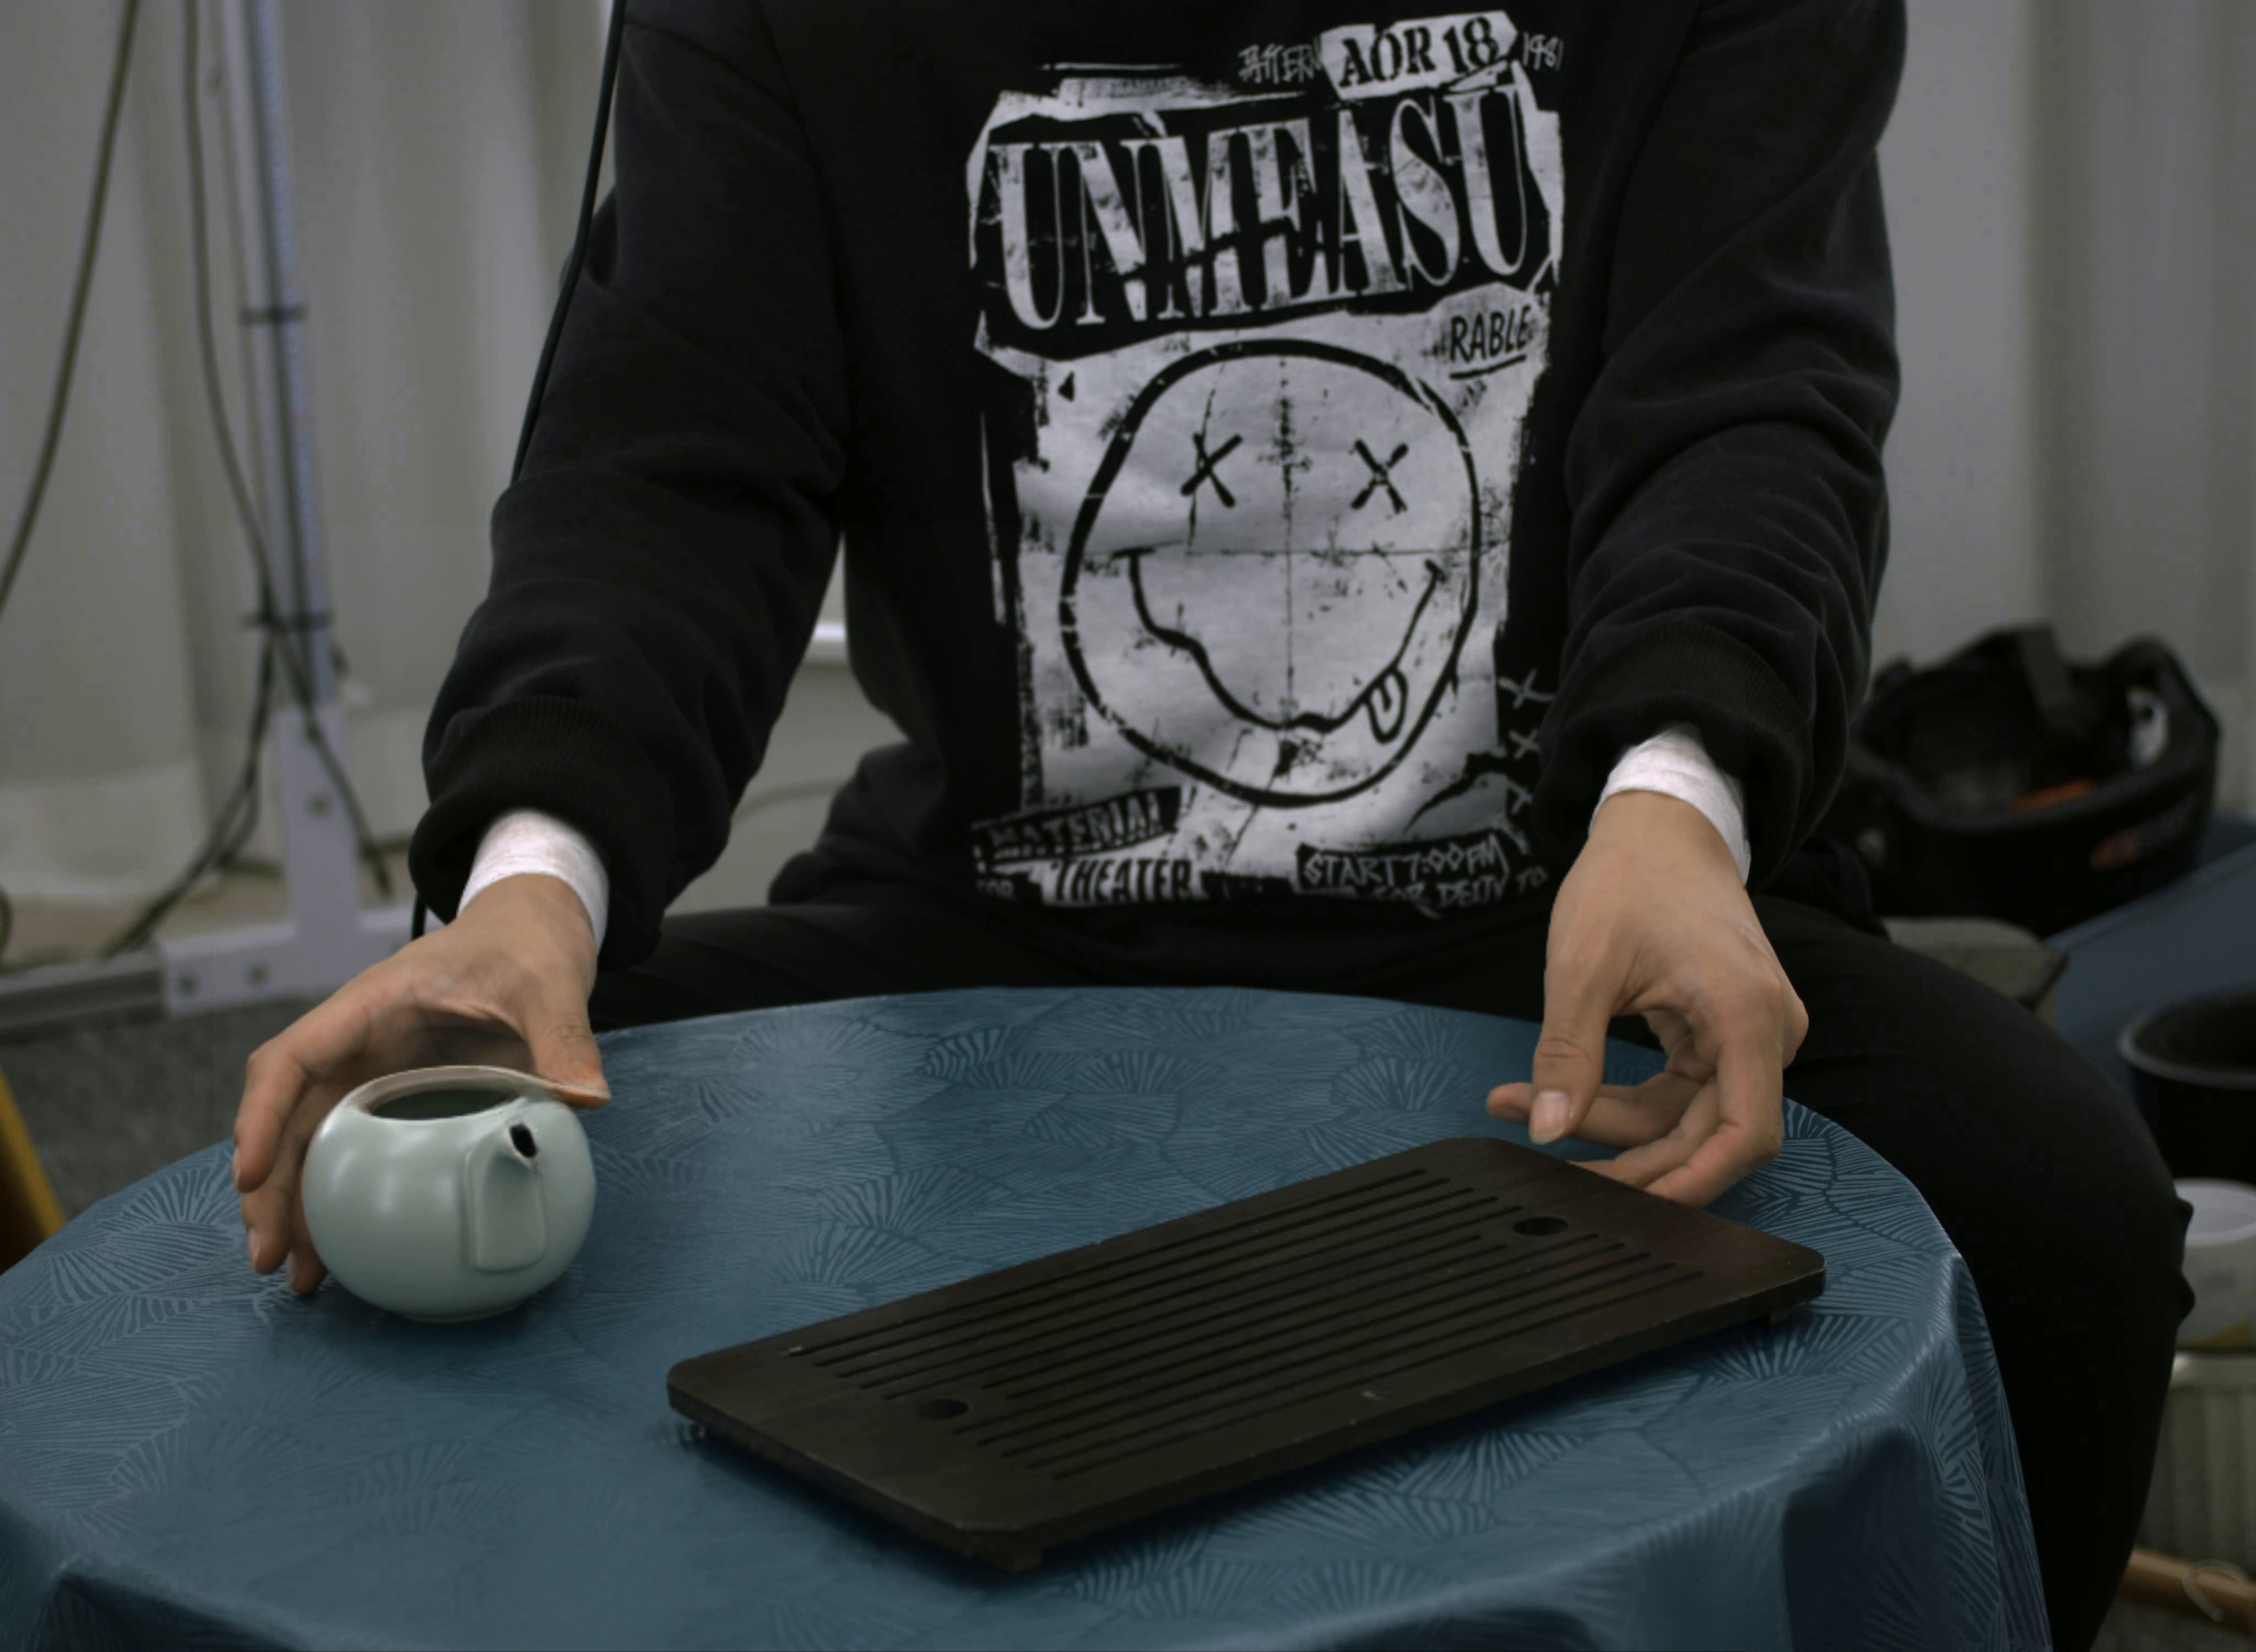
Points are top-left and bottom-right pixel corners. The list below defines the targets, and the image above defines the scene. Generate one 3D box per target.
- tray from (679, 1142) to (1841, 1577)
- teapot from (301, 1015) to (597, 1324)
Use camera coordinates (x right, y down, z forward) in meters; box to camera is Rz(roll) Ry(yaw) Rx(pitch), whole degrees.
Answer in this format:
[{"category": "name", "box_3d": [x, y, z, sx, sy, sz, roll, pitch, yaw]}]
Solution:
[{"category": "tray", "box_3d": [0.040, 0.148, 1.548, 0.305, 0.018, 0.171, -13, 17, -34]}, {"category": "teapot", "box_3d": [-0.203, 0.108, 1.639, 0.088, 0.074, 0.145, -9, 18, -25]}]
